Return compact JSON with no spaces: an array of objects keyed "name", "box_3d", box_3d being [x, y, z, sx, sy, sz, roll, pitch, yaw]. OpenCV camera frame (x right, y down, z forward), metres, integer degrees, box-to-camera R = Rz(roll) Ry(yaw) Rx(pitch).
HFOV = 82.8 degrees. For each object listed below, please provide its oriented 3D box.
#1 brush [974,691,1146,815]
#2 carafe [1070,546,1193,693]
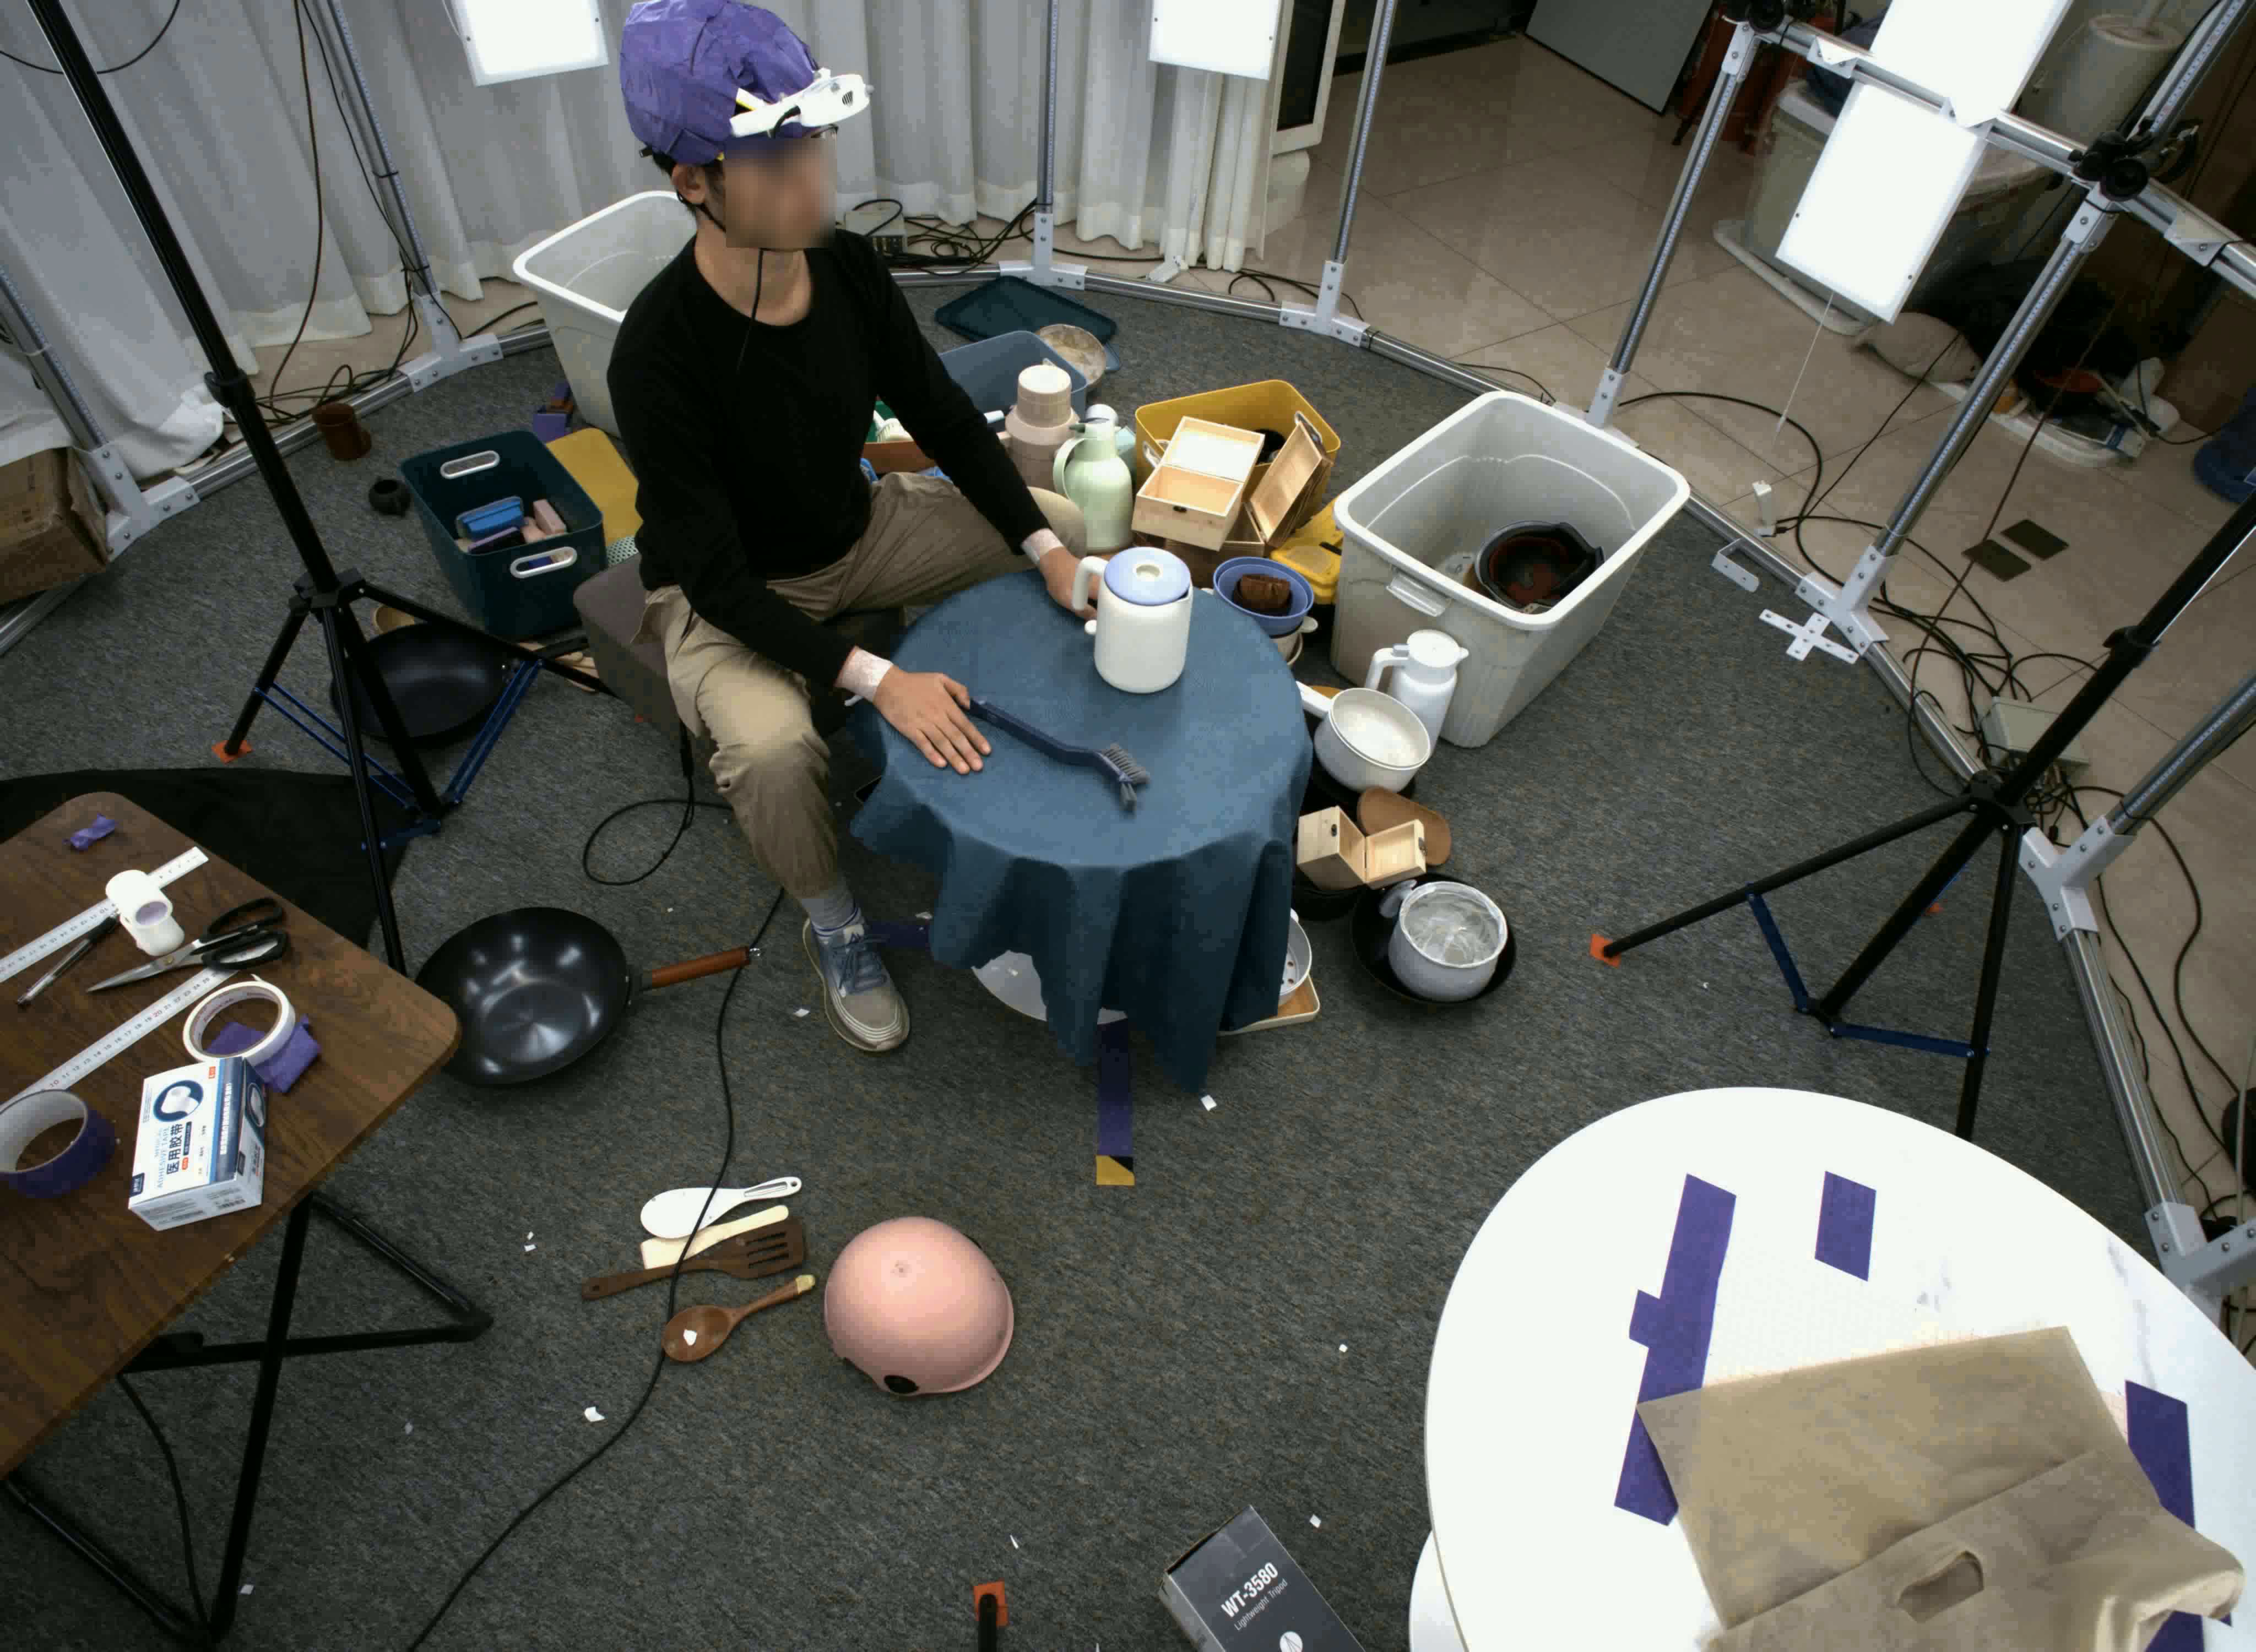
[{"name":"brush","box_3d":[-0.104,-0.104,1.734,0.275,0.033,0.097,23,54,14]},{"name":"carafe","box_3d":[0.000,-0.301,1.820,0.193,0.178,0.134,27,52,19]}]
